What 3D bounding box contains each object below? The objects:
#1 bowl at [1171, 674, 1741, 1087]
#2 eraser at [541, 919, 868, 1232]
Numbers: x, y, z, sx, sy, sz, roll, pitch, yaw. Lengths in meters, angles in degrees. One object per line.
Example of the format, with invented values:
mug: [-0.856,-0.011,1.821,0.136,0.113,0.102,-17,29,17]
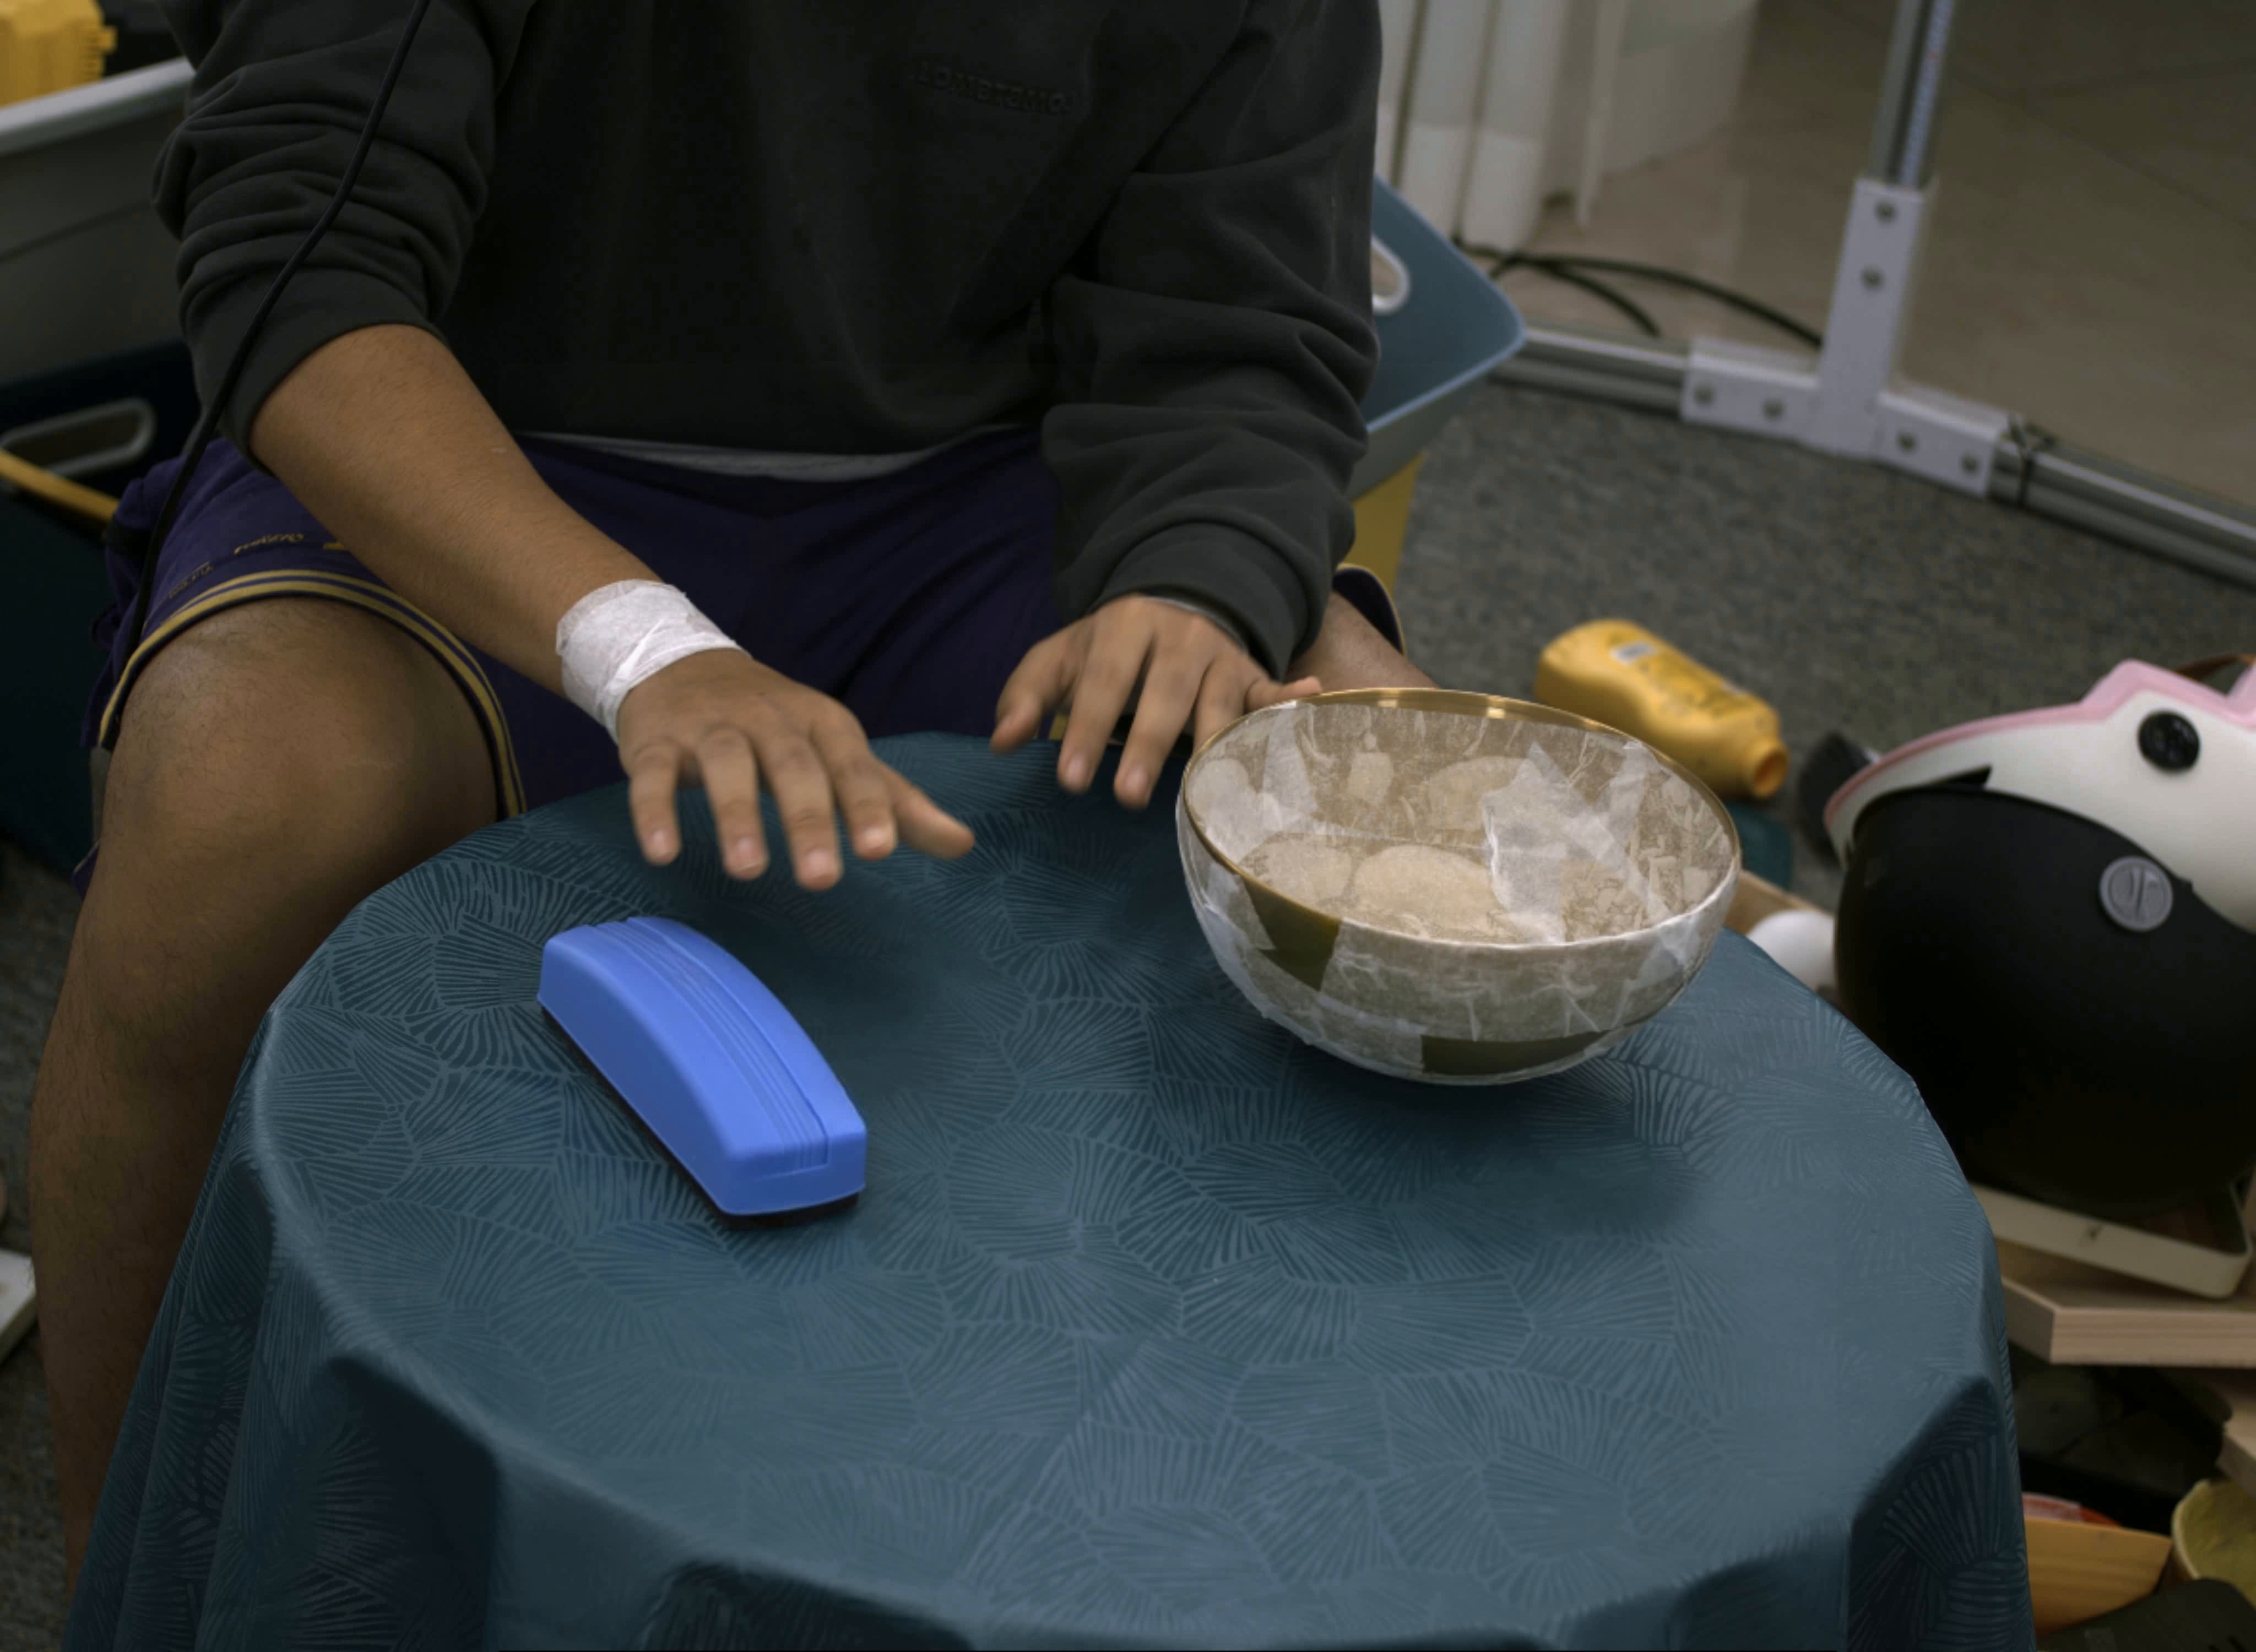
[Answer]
bowl: [0.114,0.031,1.905,0.214,0.094,0.216,4,27,-2]
eraser: [-0.145,0.078,1.810,0.053,0.047,0.163,-13,32,-27]
